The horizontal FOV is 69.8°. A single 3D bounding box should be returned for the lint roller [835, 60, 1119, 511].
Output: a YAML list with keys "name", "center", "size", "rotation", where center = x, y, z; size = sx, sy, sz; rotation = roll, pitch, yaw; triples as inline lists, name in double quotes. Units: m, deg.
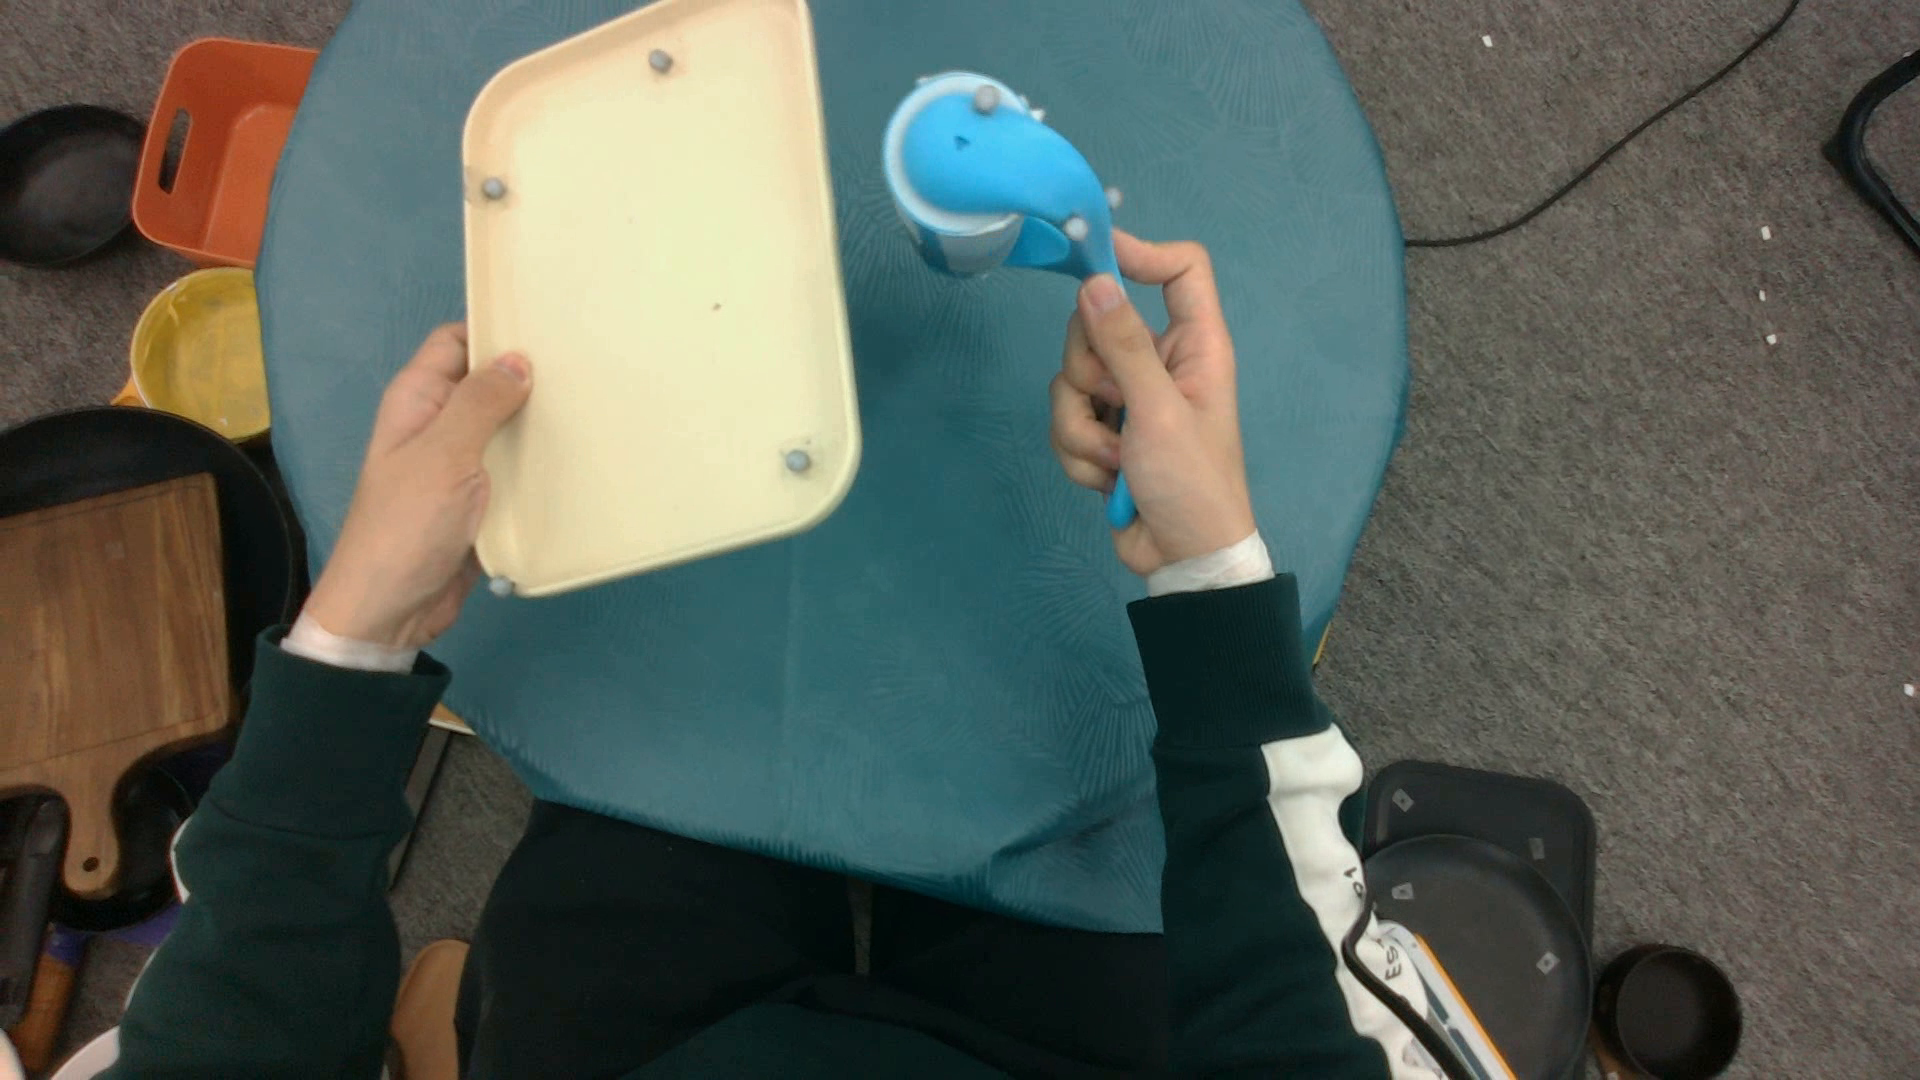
- name: "lint roller"
  center: [0.025, -0.102, 0.566]
  size: [0.068, 0.229, 0.180]
  rotation: [-37, 97, 5]

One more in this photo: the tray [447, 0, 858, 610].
- name: "tray"
  center: [-0.128, -0.098, 0.553]
  size: [0.171, 0.017, 0.240]
  rotation: [-14, 72, 17]
